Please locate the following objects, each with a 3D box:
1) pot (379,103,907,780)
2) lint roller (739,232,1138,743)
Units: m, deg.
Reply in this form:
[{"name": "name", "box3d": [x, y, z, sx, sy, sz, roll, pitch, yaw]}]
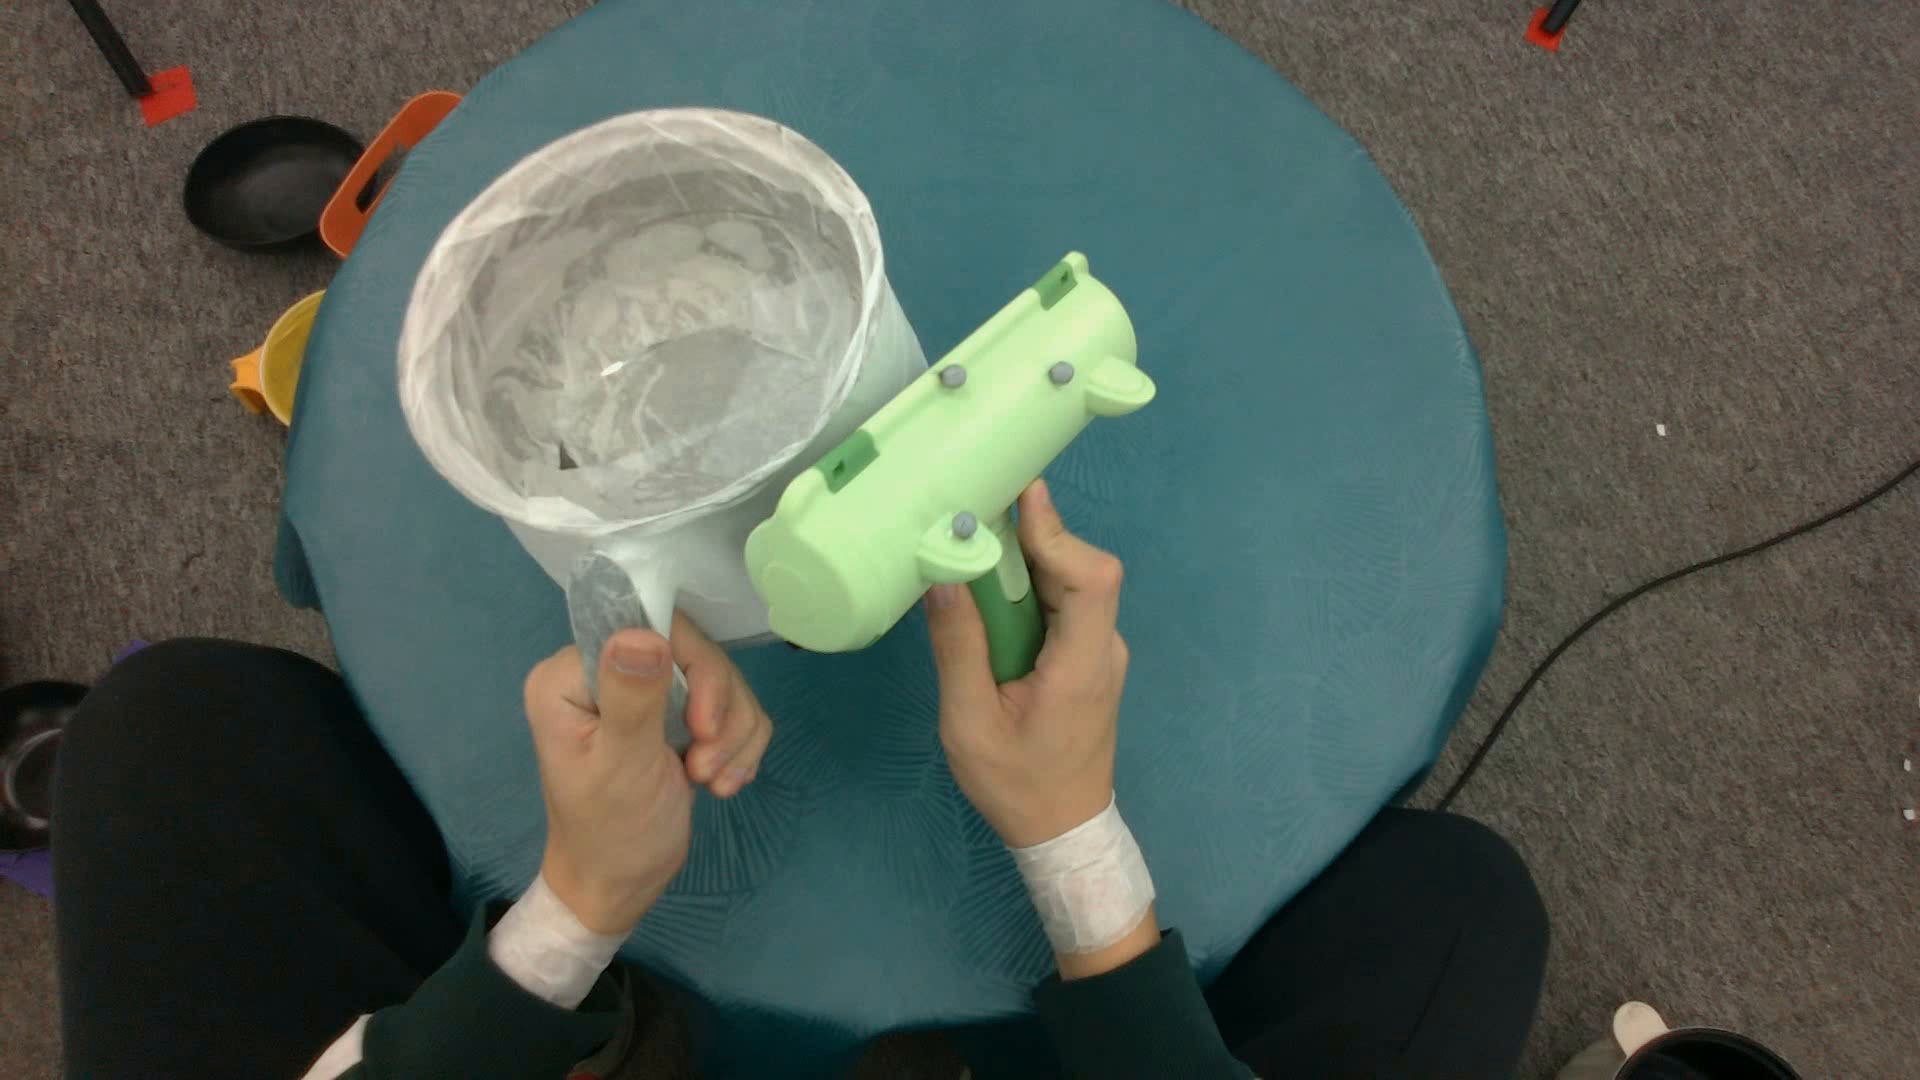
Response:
[{"name": "pot", "box3d": [-0.110, -0.033, 0.527, 0.178, 0.136, 0.234, -3, 64, 9]}, {"name": "lint roller", "box3d": [0.019, 0.004, 0.515, 0.082, 0.183, 0.199, -1, 31, 35]}]
